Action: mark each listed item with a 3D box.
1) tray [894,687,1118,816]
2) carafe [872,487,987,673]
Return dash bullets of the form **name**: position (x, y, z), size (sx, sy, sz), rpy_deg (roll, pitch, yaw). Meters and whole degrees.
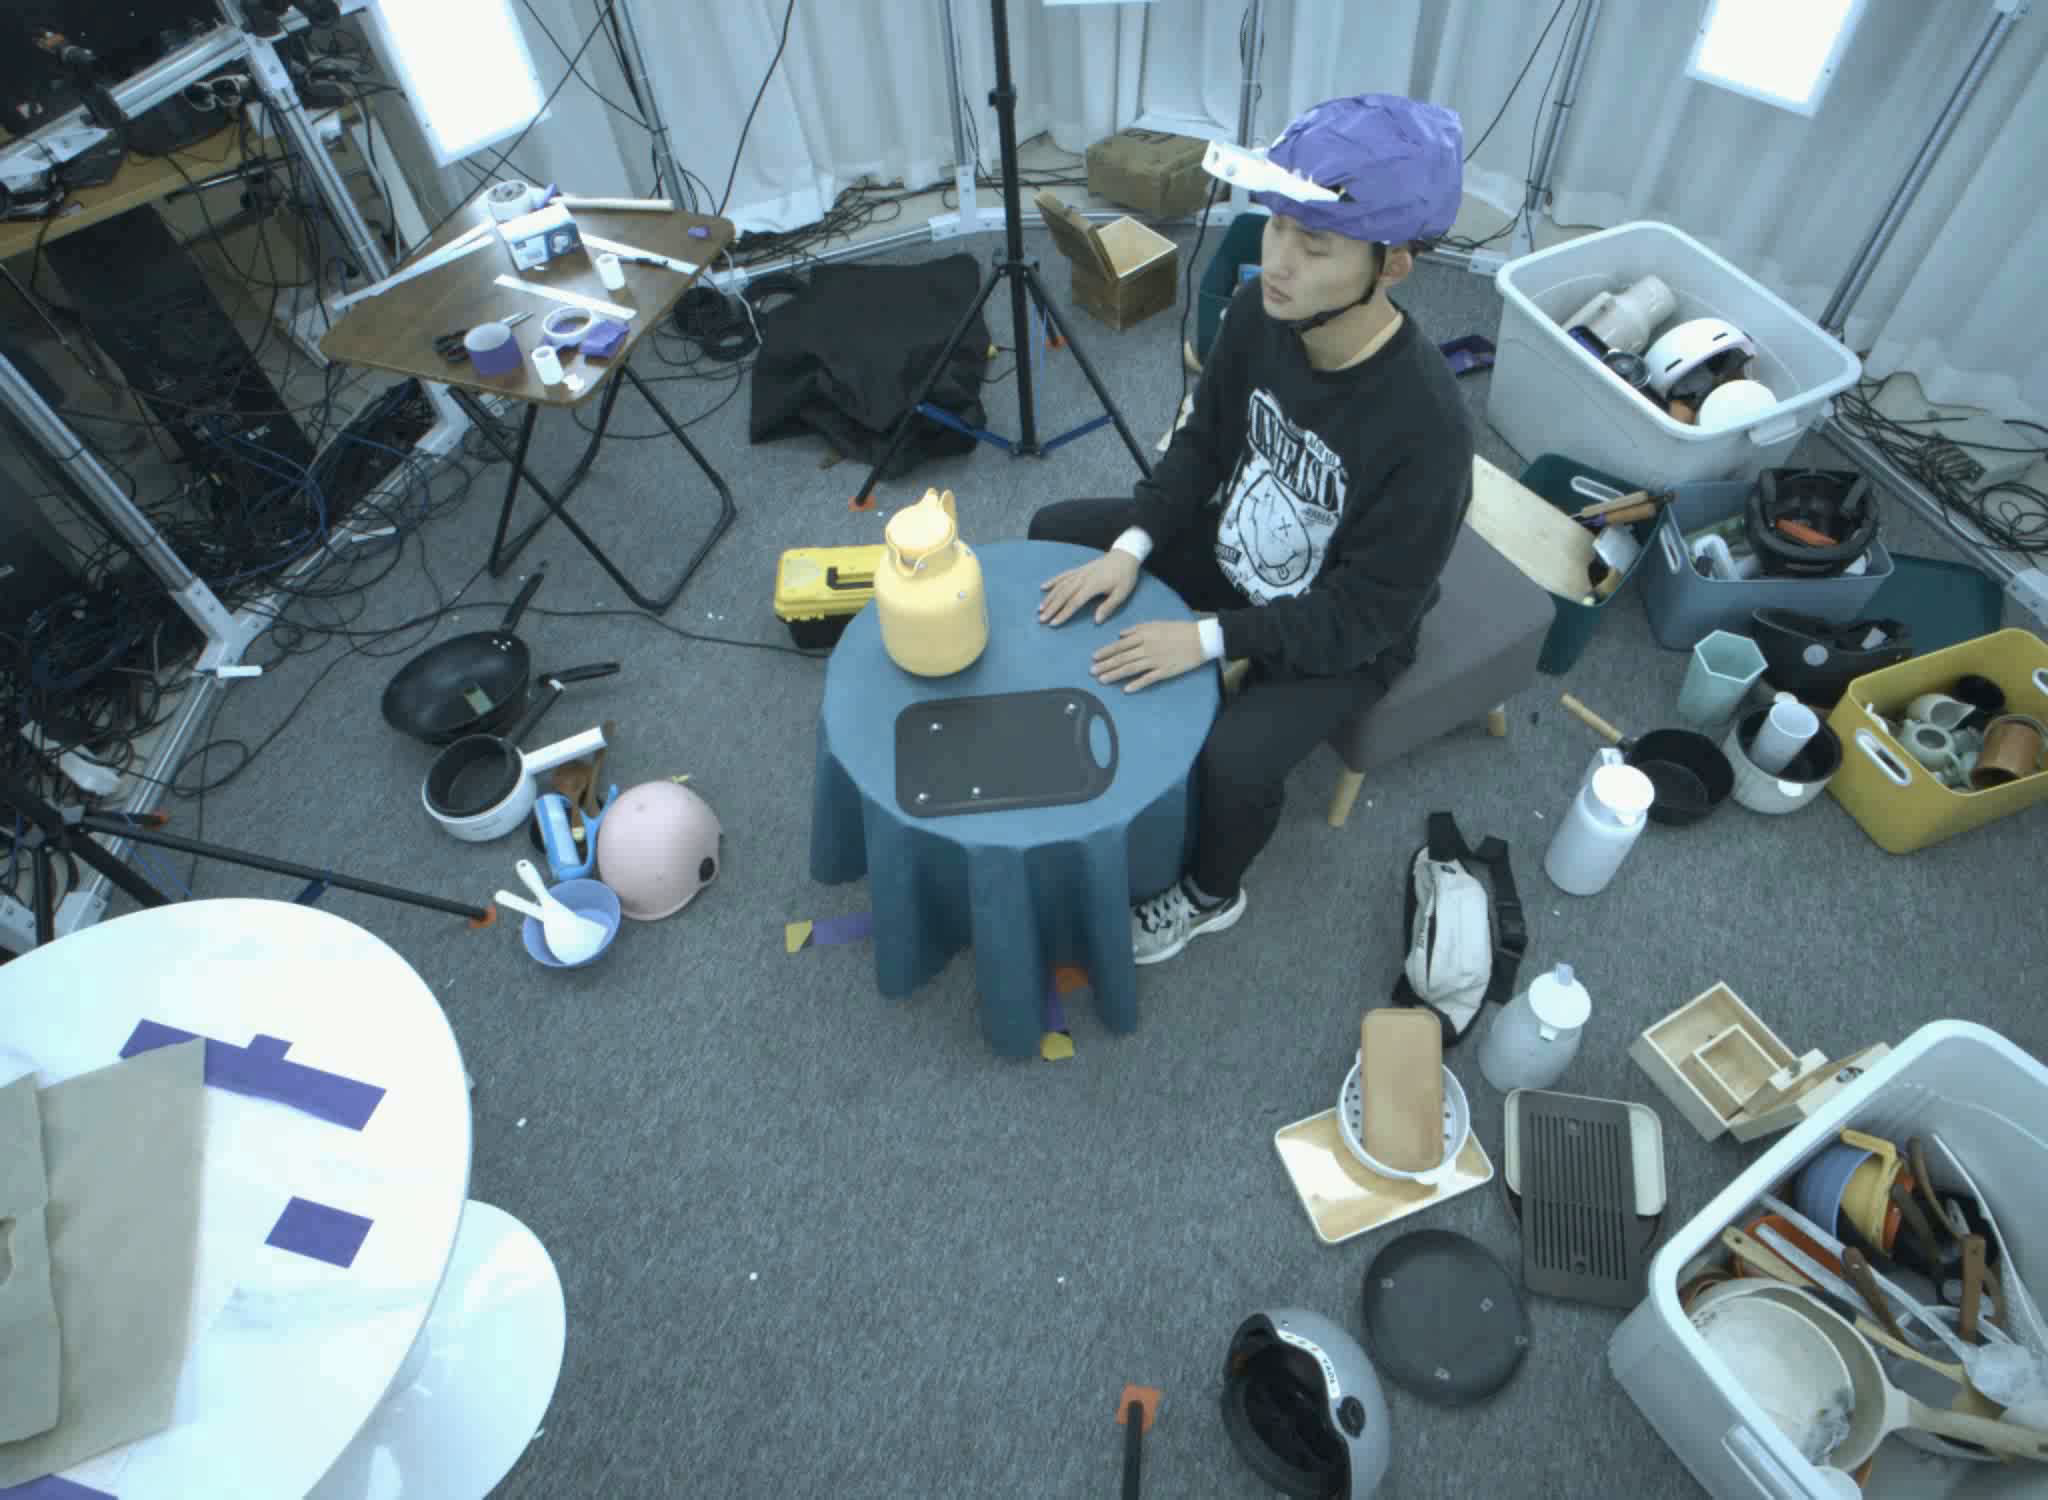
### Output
- **tray**: position (-0.027, -0.003, 1.782), size (0.326, 0.010, 0.208), rpy_deg (-5, 55, -2)
- **carafe**: position (-0.135, -0.257, 1.808), size (0.162, 0.263, 0.201), rpy_deg (13, 58, 9)
